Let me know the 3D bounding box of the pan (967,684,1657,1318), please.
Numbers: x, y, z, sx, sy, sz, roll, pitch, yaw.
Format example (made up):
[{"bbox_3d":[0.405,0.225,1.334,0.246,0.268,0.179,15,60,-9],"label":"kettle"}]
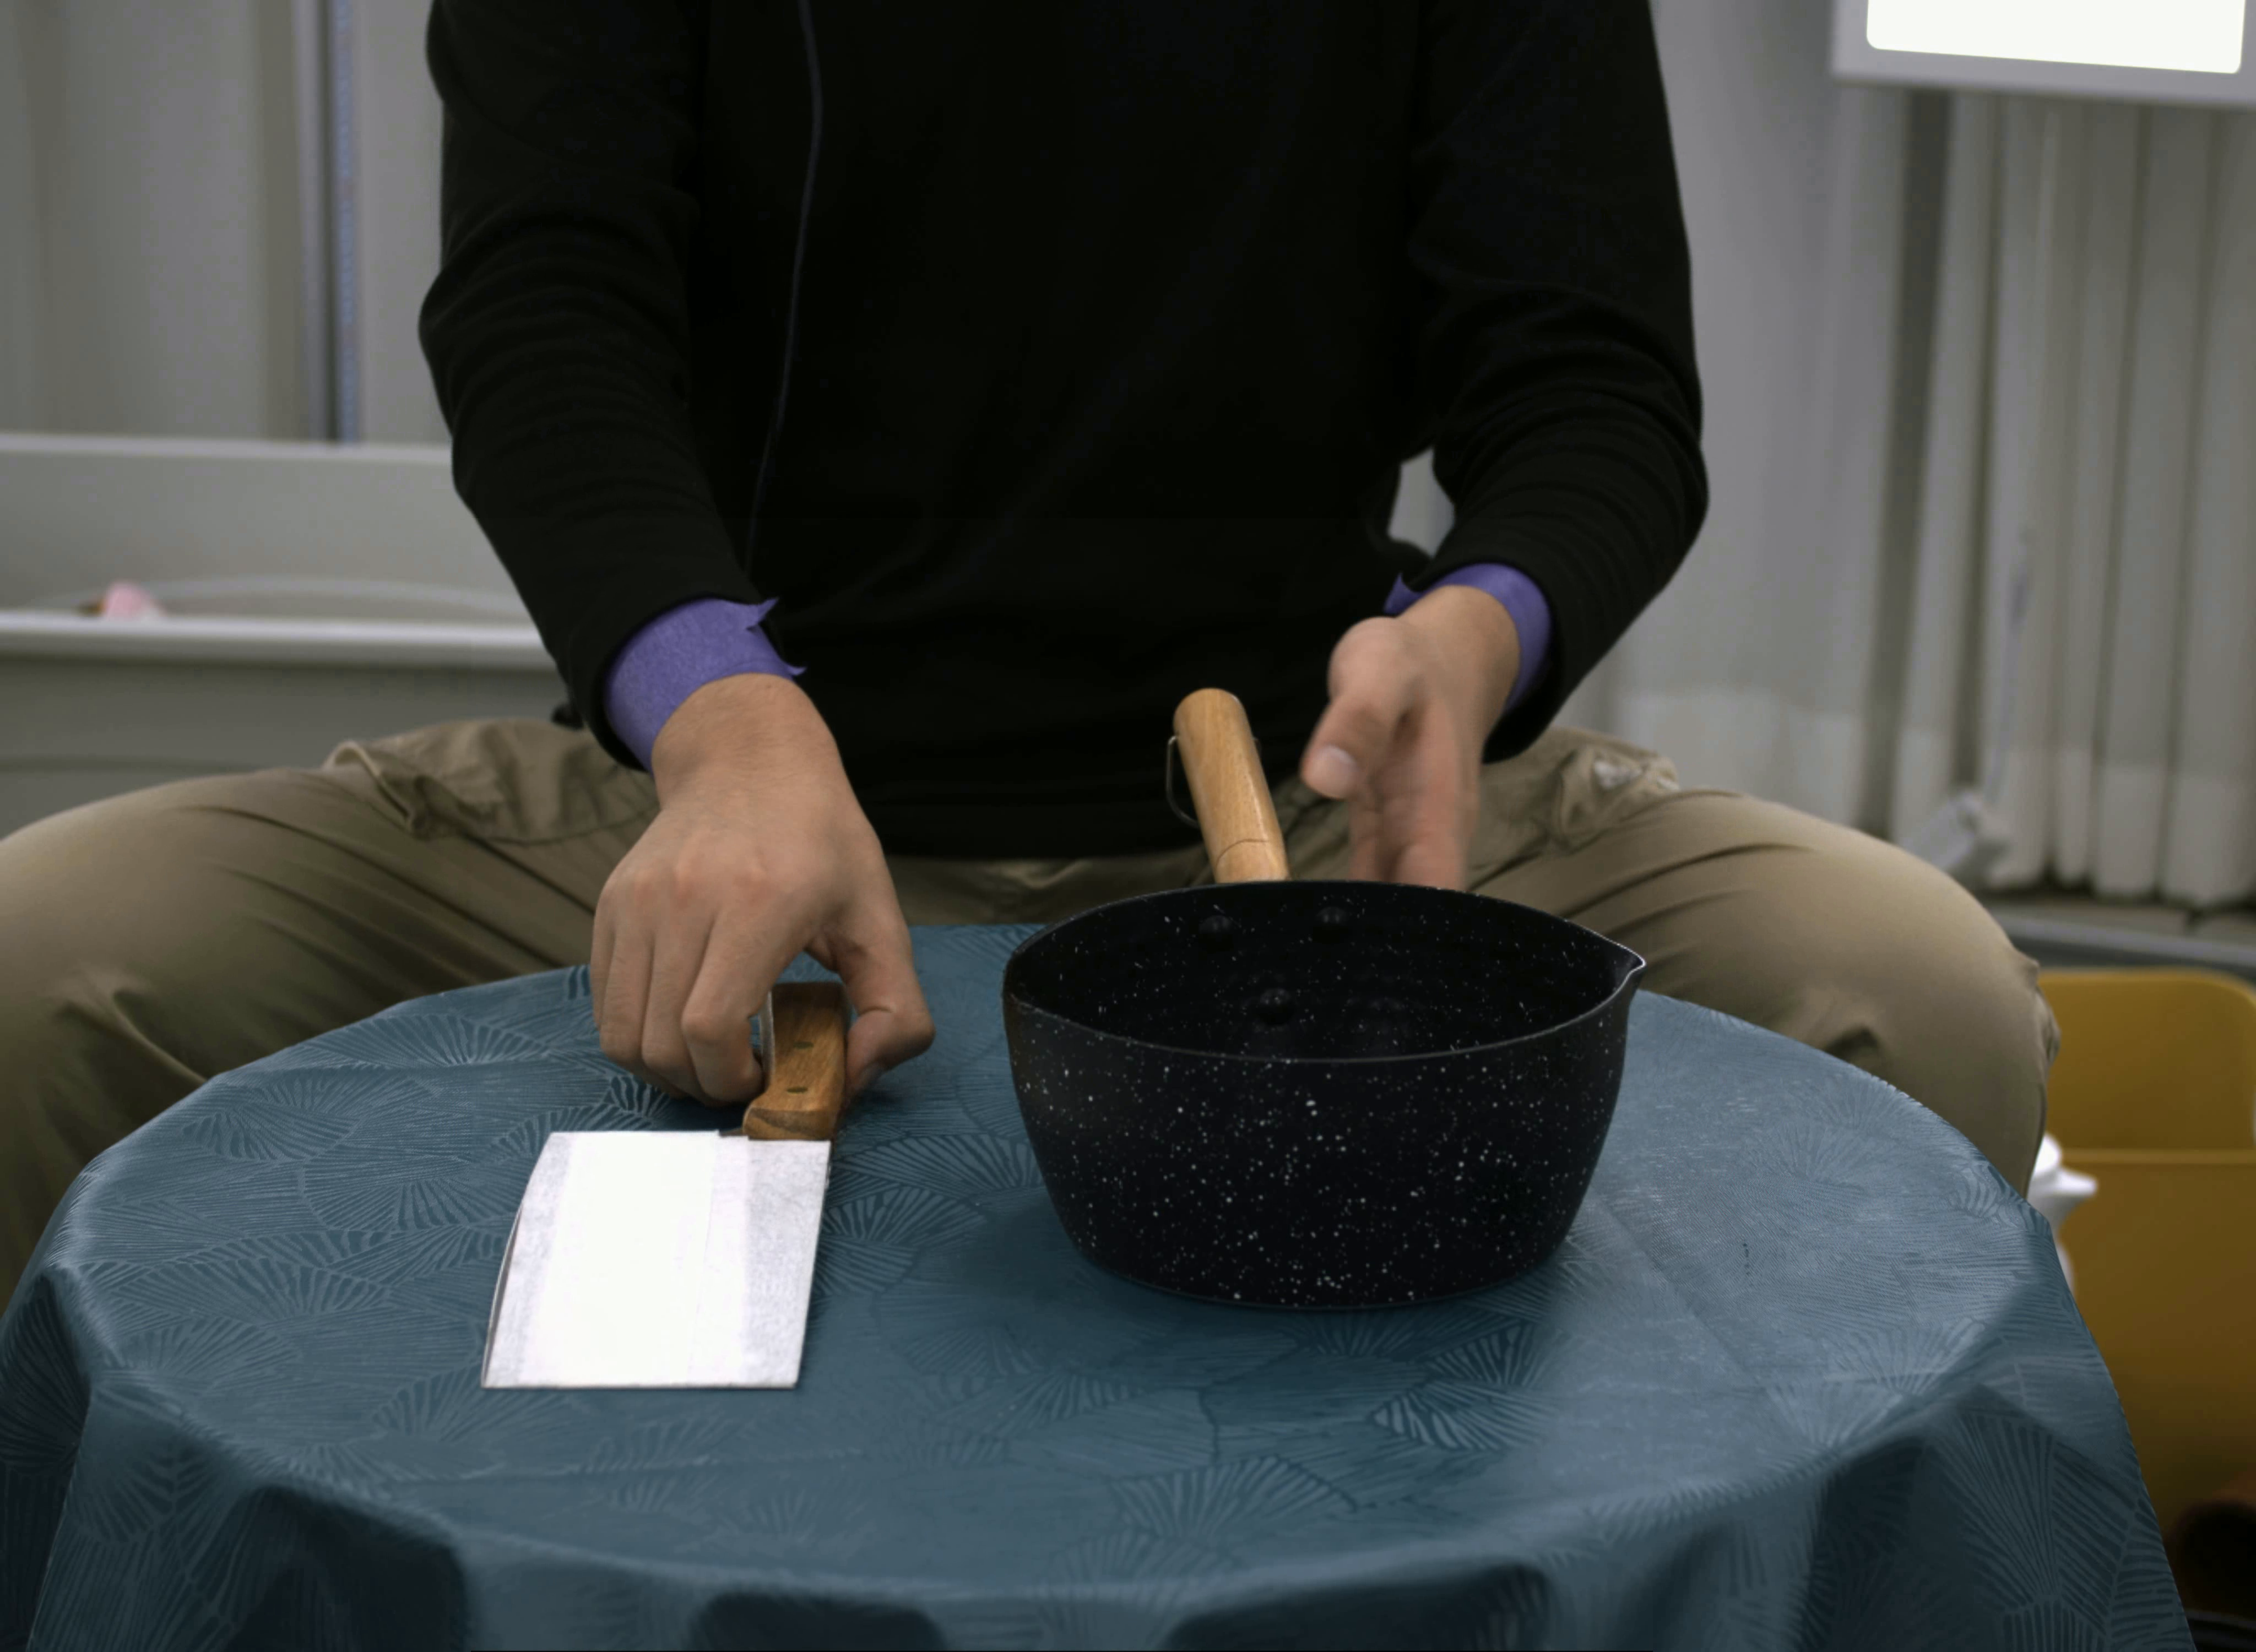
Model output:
[{"bbox_3d":[0.045,0.050,1.651,0.207,0.109,0.340,-2,17,-8],"label":"pan"}]

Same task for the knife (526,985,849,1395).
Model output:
[{"bbox_3d":[-0.133,0.108,1.601,0.092,0.021,0.304,-1,18,1],"label":"knife"}]
